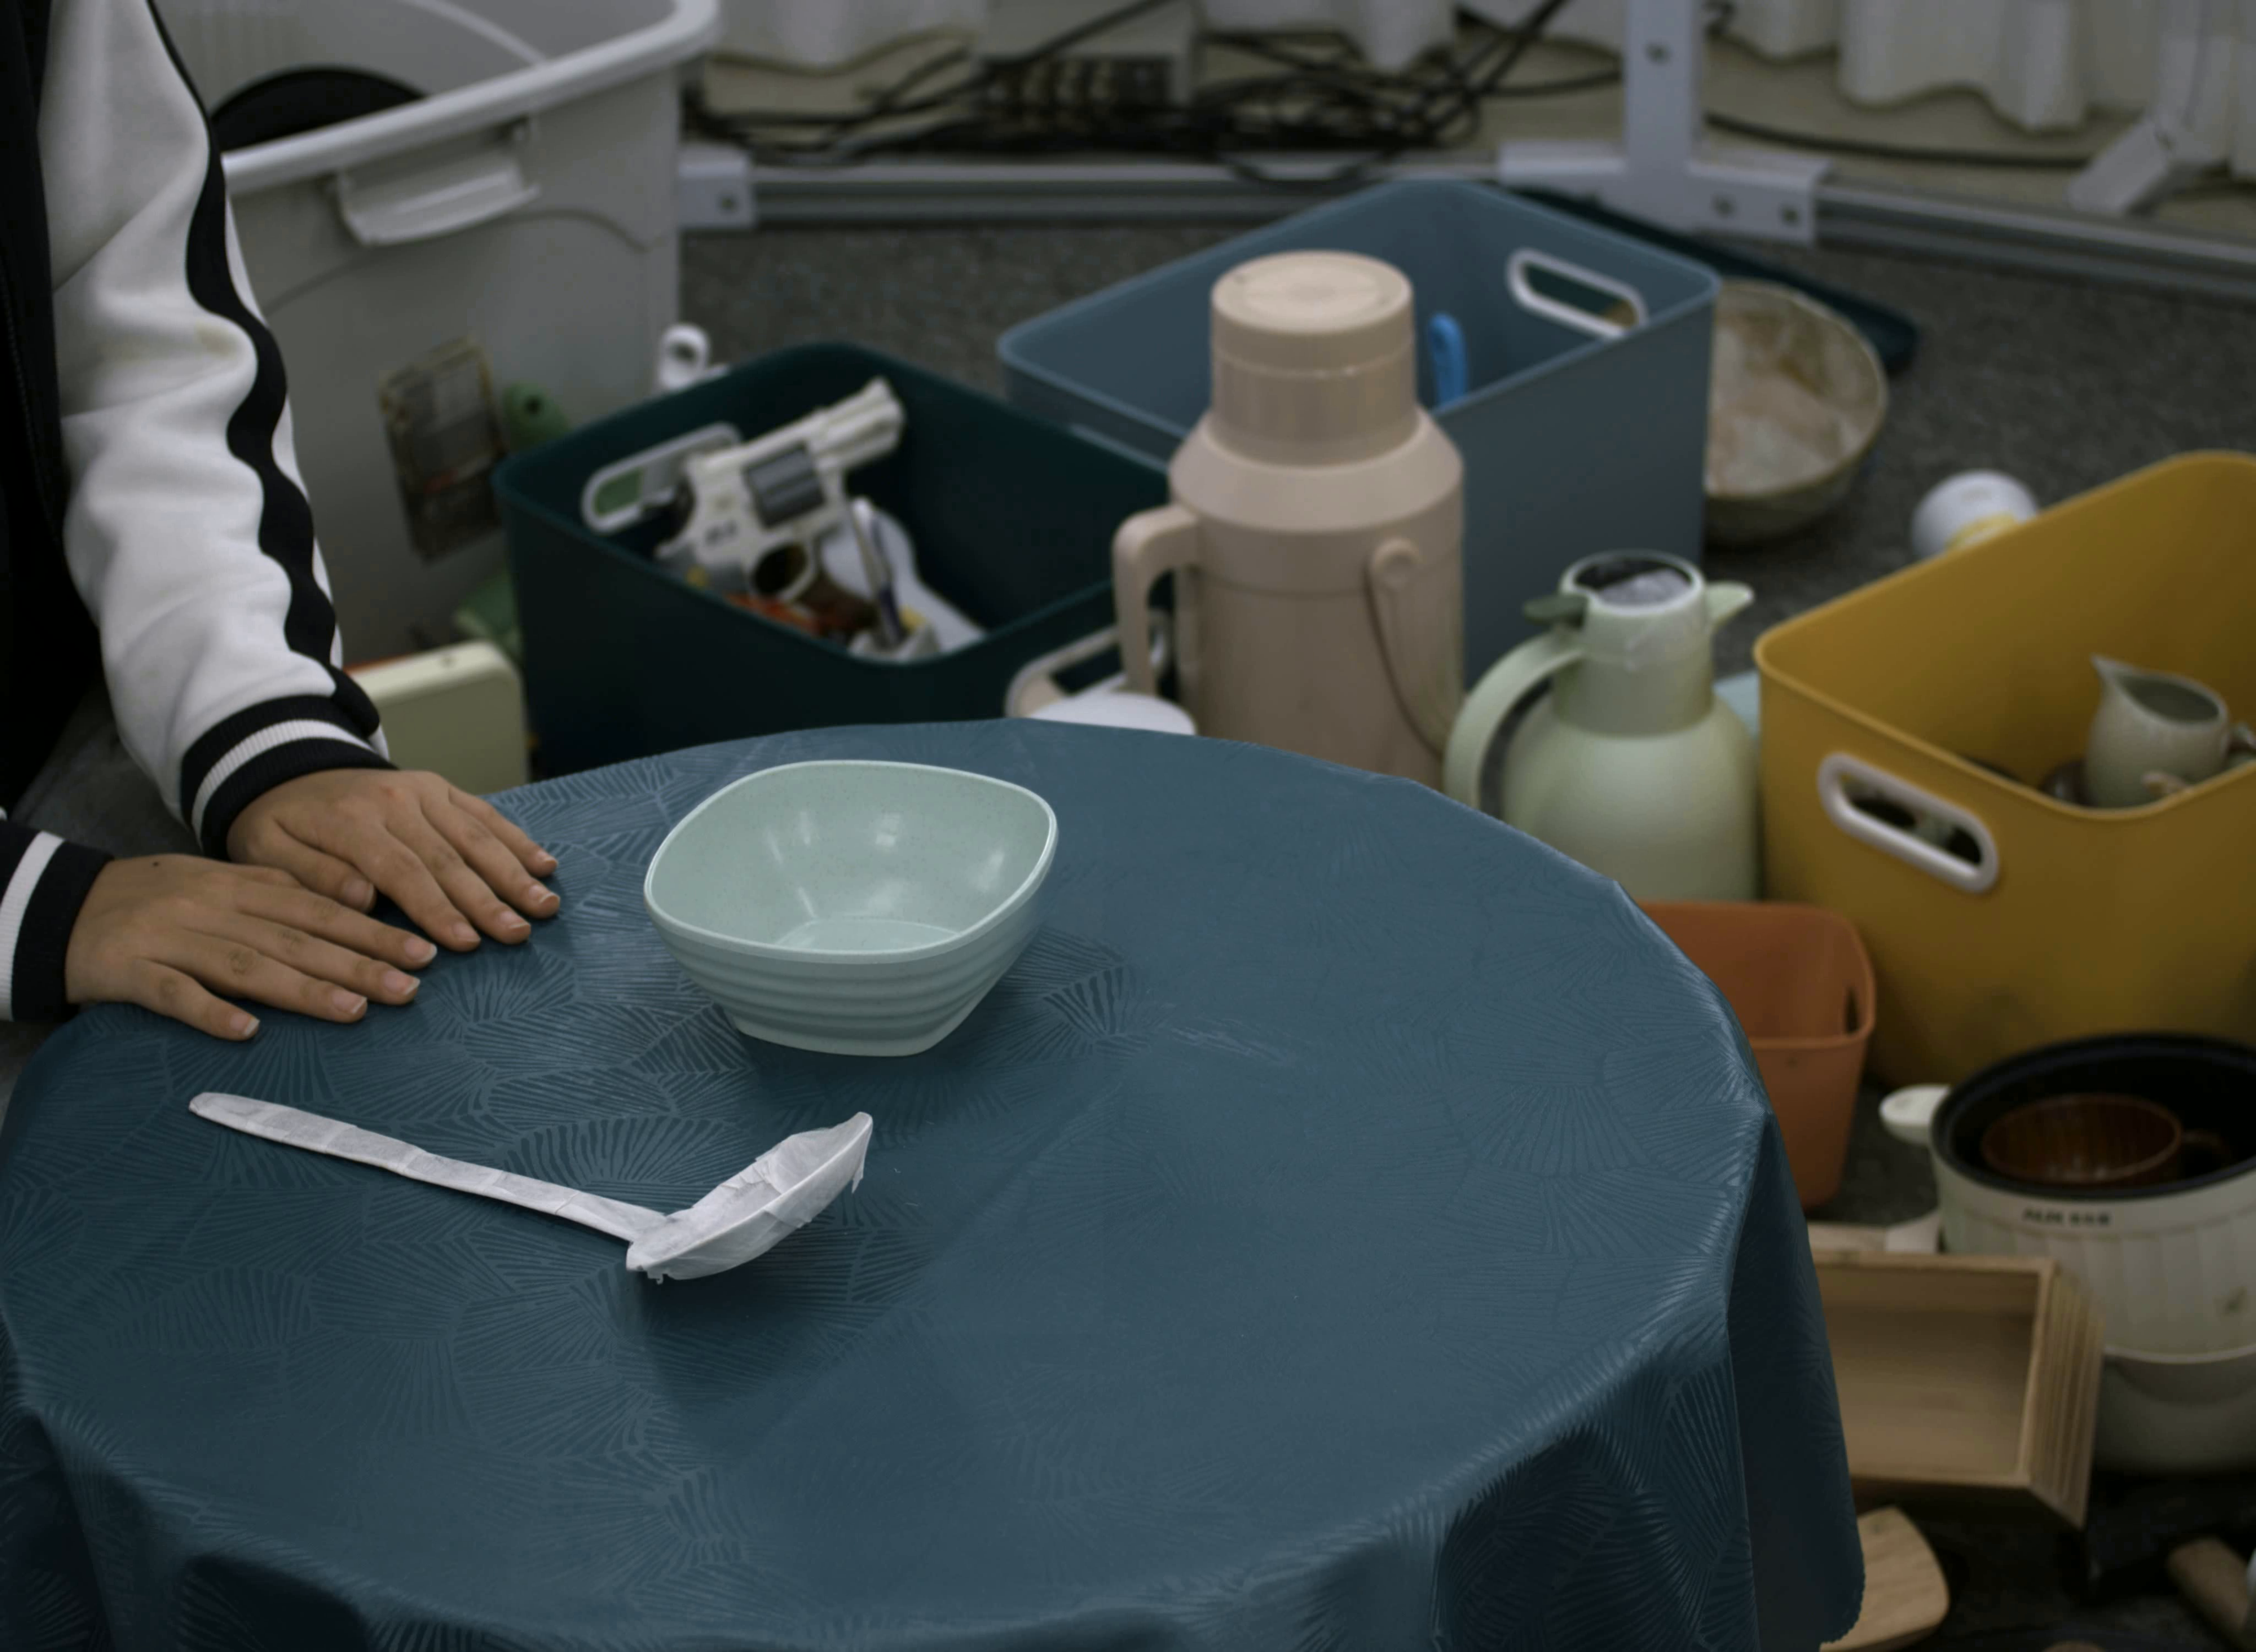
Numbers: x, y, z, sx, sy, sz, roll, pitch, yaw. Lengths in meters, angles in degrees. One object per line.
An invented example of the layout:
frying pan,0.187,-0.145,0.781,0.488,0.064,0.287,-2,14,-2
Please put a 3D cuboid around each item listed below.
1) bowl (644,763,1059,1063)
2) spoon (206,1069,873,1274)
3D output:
bowl,-0.095,0.036,1.978,0.151,0.058,0.154,-2,28,2
spoon,-0.203,0.095,1.871,0.276,0.059,0.102,16,28,32
